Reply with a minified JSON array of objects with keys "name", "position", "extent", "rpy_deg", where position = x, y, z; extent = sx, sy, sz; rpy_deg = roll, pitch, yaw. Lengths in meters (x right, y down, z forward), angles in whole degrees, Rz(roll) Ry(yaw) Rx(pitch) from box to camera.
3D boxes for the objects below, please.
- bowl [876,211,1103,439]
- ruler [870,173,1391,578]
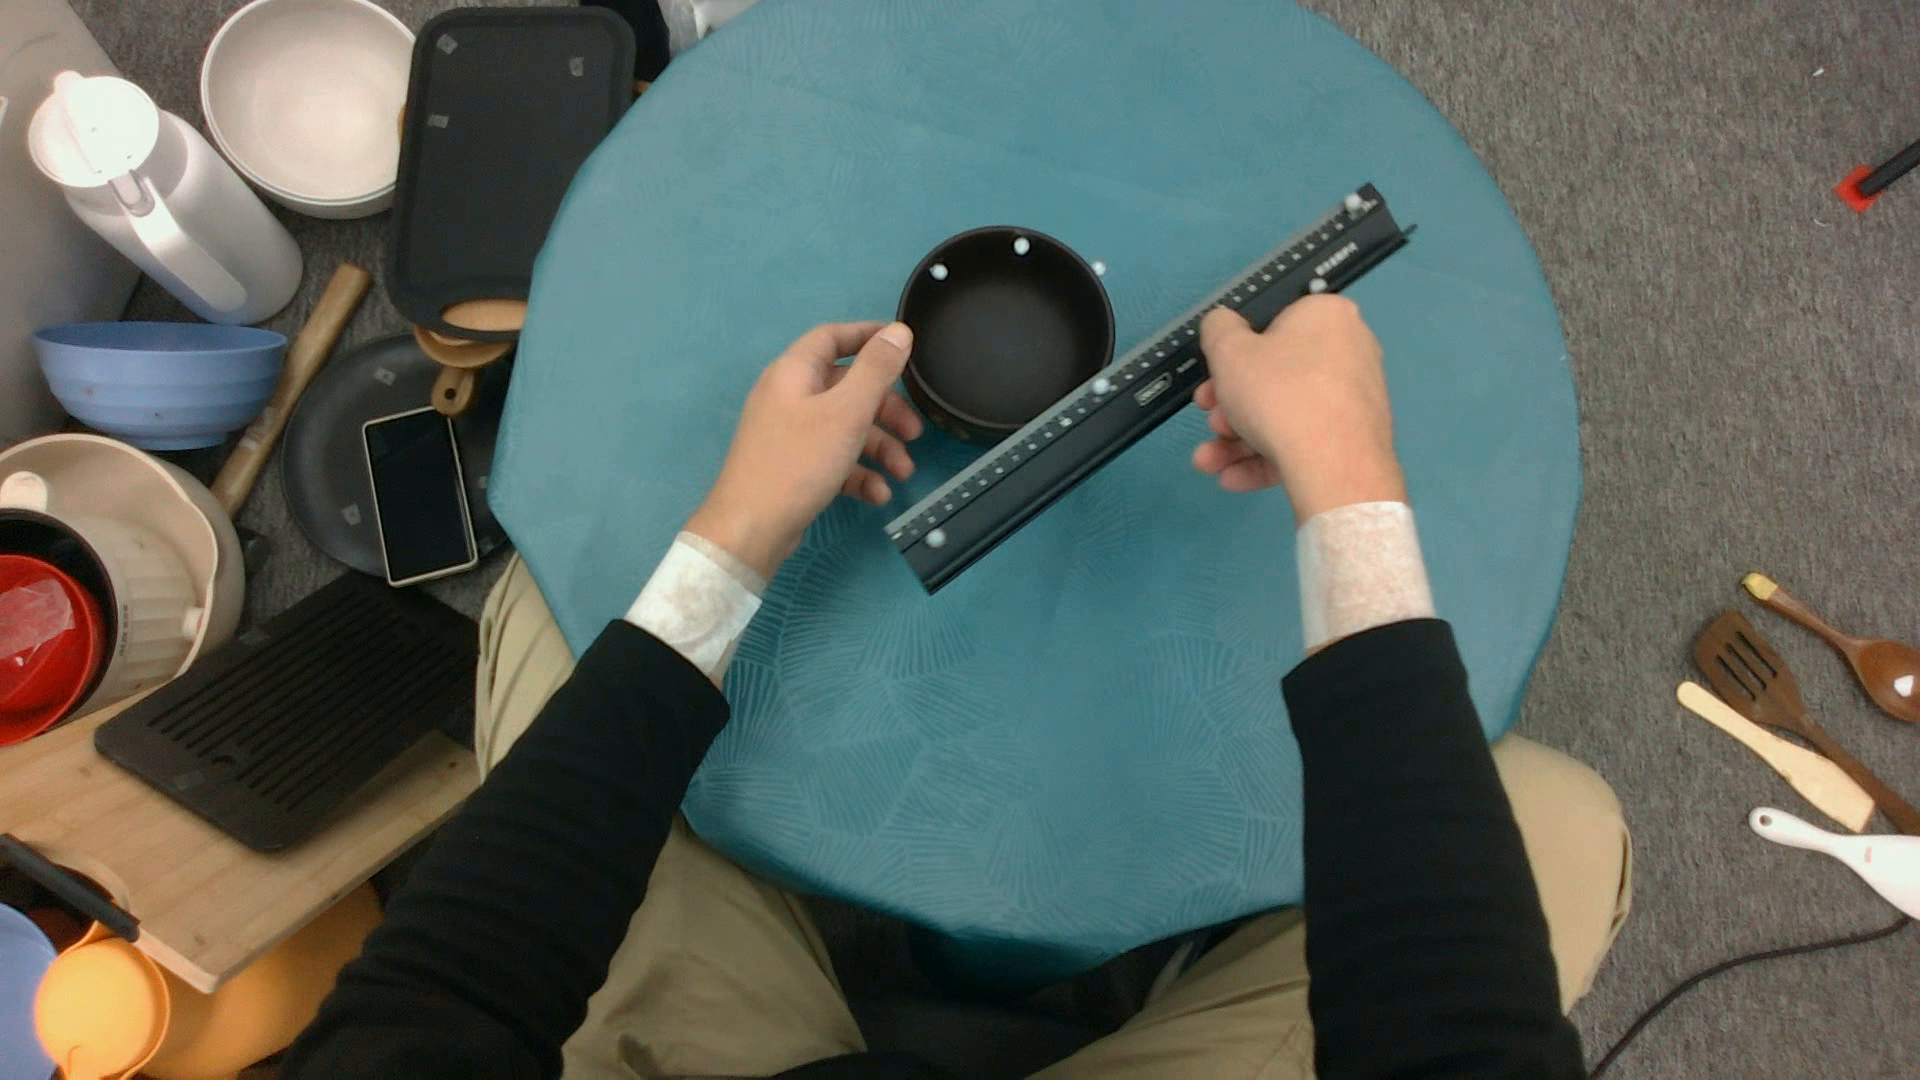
[{"name":"bowl","position":[0.014,-0.109,0.738],"extent":[0.118,0.069,0.118],"rpy_deg":[1,75,-4]},{"name":"ruler","position":[0.091,-0.087,0.663],"extent":[0.313,0.017,0.039],"rpy_deg":[-37,95,-16]}]
